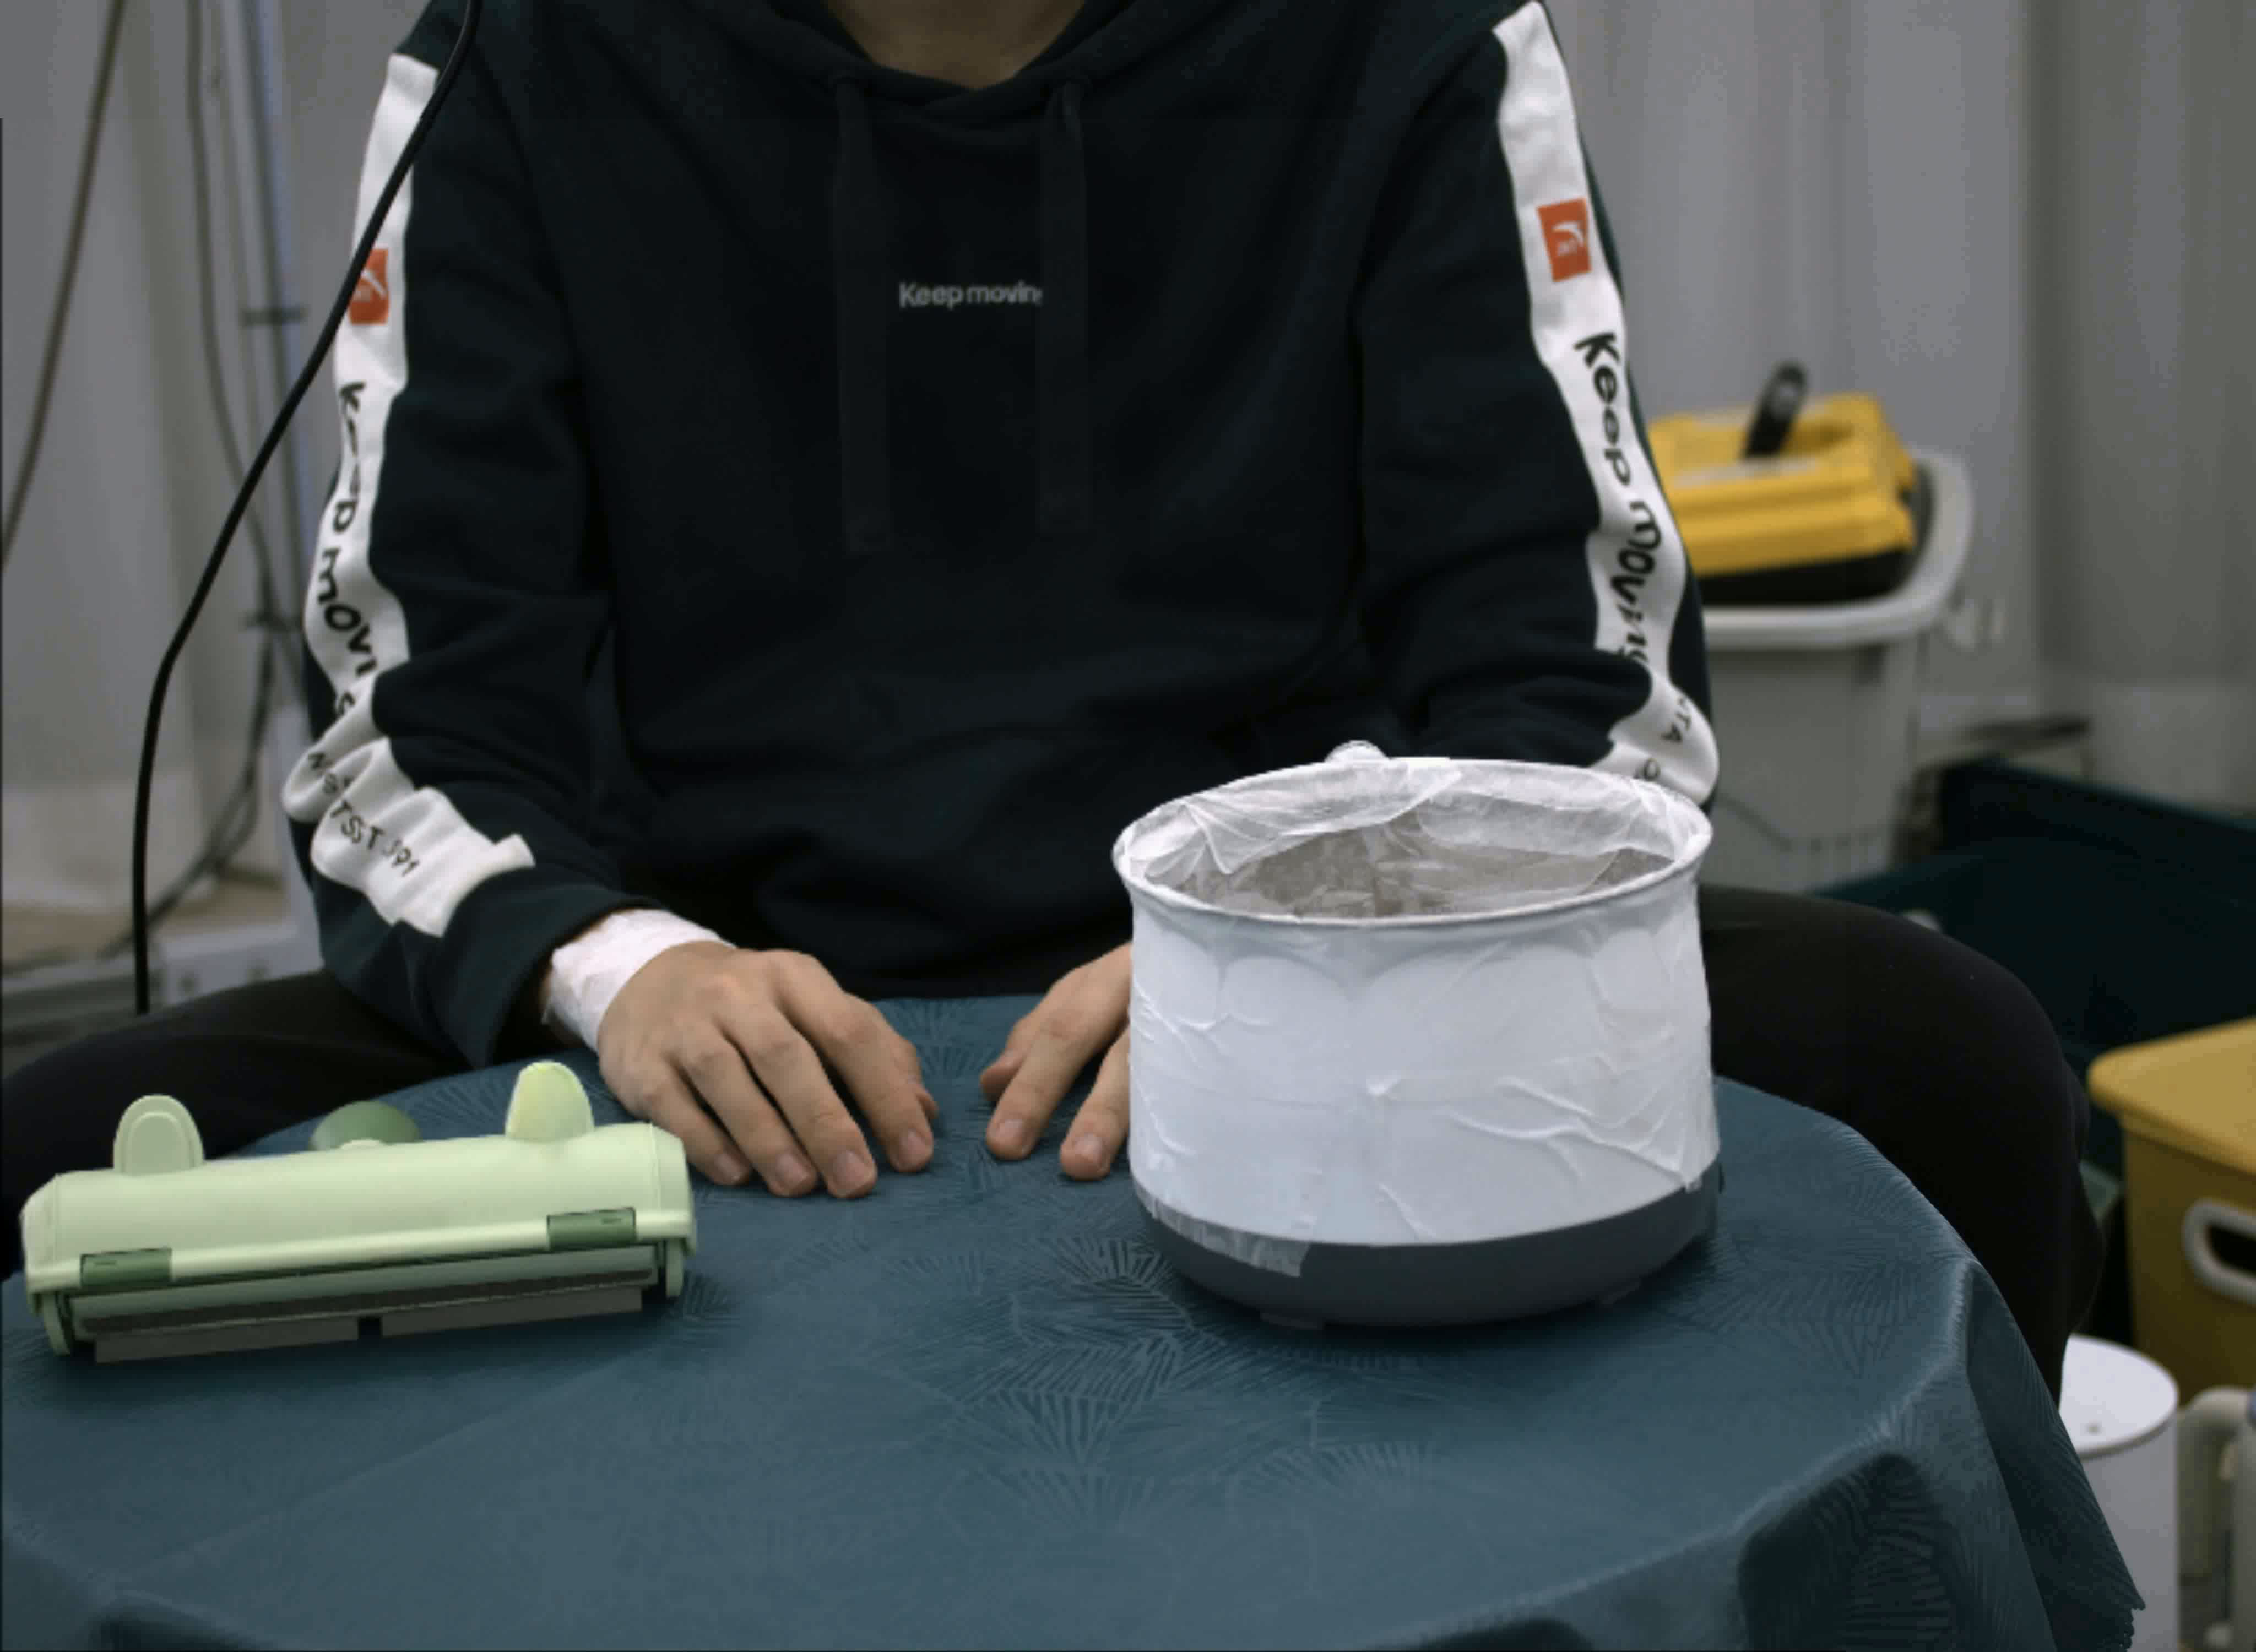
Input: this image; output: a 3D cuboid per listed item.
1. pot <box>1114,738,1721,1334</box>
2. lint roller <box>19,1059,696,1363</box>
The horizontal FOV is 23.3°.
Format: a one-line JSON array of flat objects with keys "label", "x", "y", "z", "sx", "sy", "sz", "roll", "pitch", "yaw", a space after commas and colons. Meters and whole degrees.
[{"label": "pot", "x": 0.083, "y": 0.057, "z": 1.648, "sx": 0.178, "sy": 0.136, "sz": 0.235, "roll": -4, "pitch": 15, "yaw": -7}, {"label": "lint roller", "x": -0.236, "y": 0.099, "z": 1.678, "sx": 0.198, "sy": 0.081, "sz": 0.185, "roll": -5, "pitch": 20, "yaw": -6}]
